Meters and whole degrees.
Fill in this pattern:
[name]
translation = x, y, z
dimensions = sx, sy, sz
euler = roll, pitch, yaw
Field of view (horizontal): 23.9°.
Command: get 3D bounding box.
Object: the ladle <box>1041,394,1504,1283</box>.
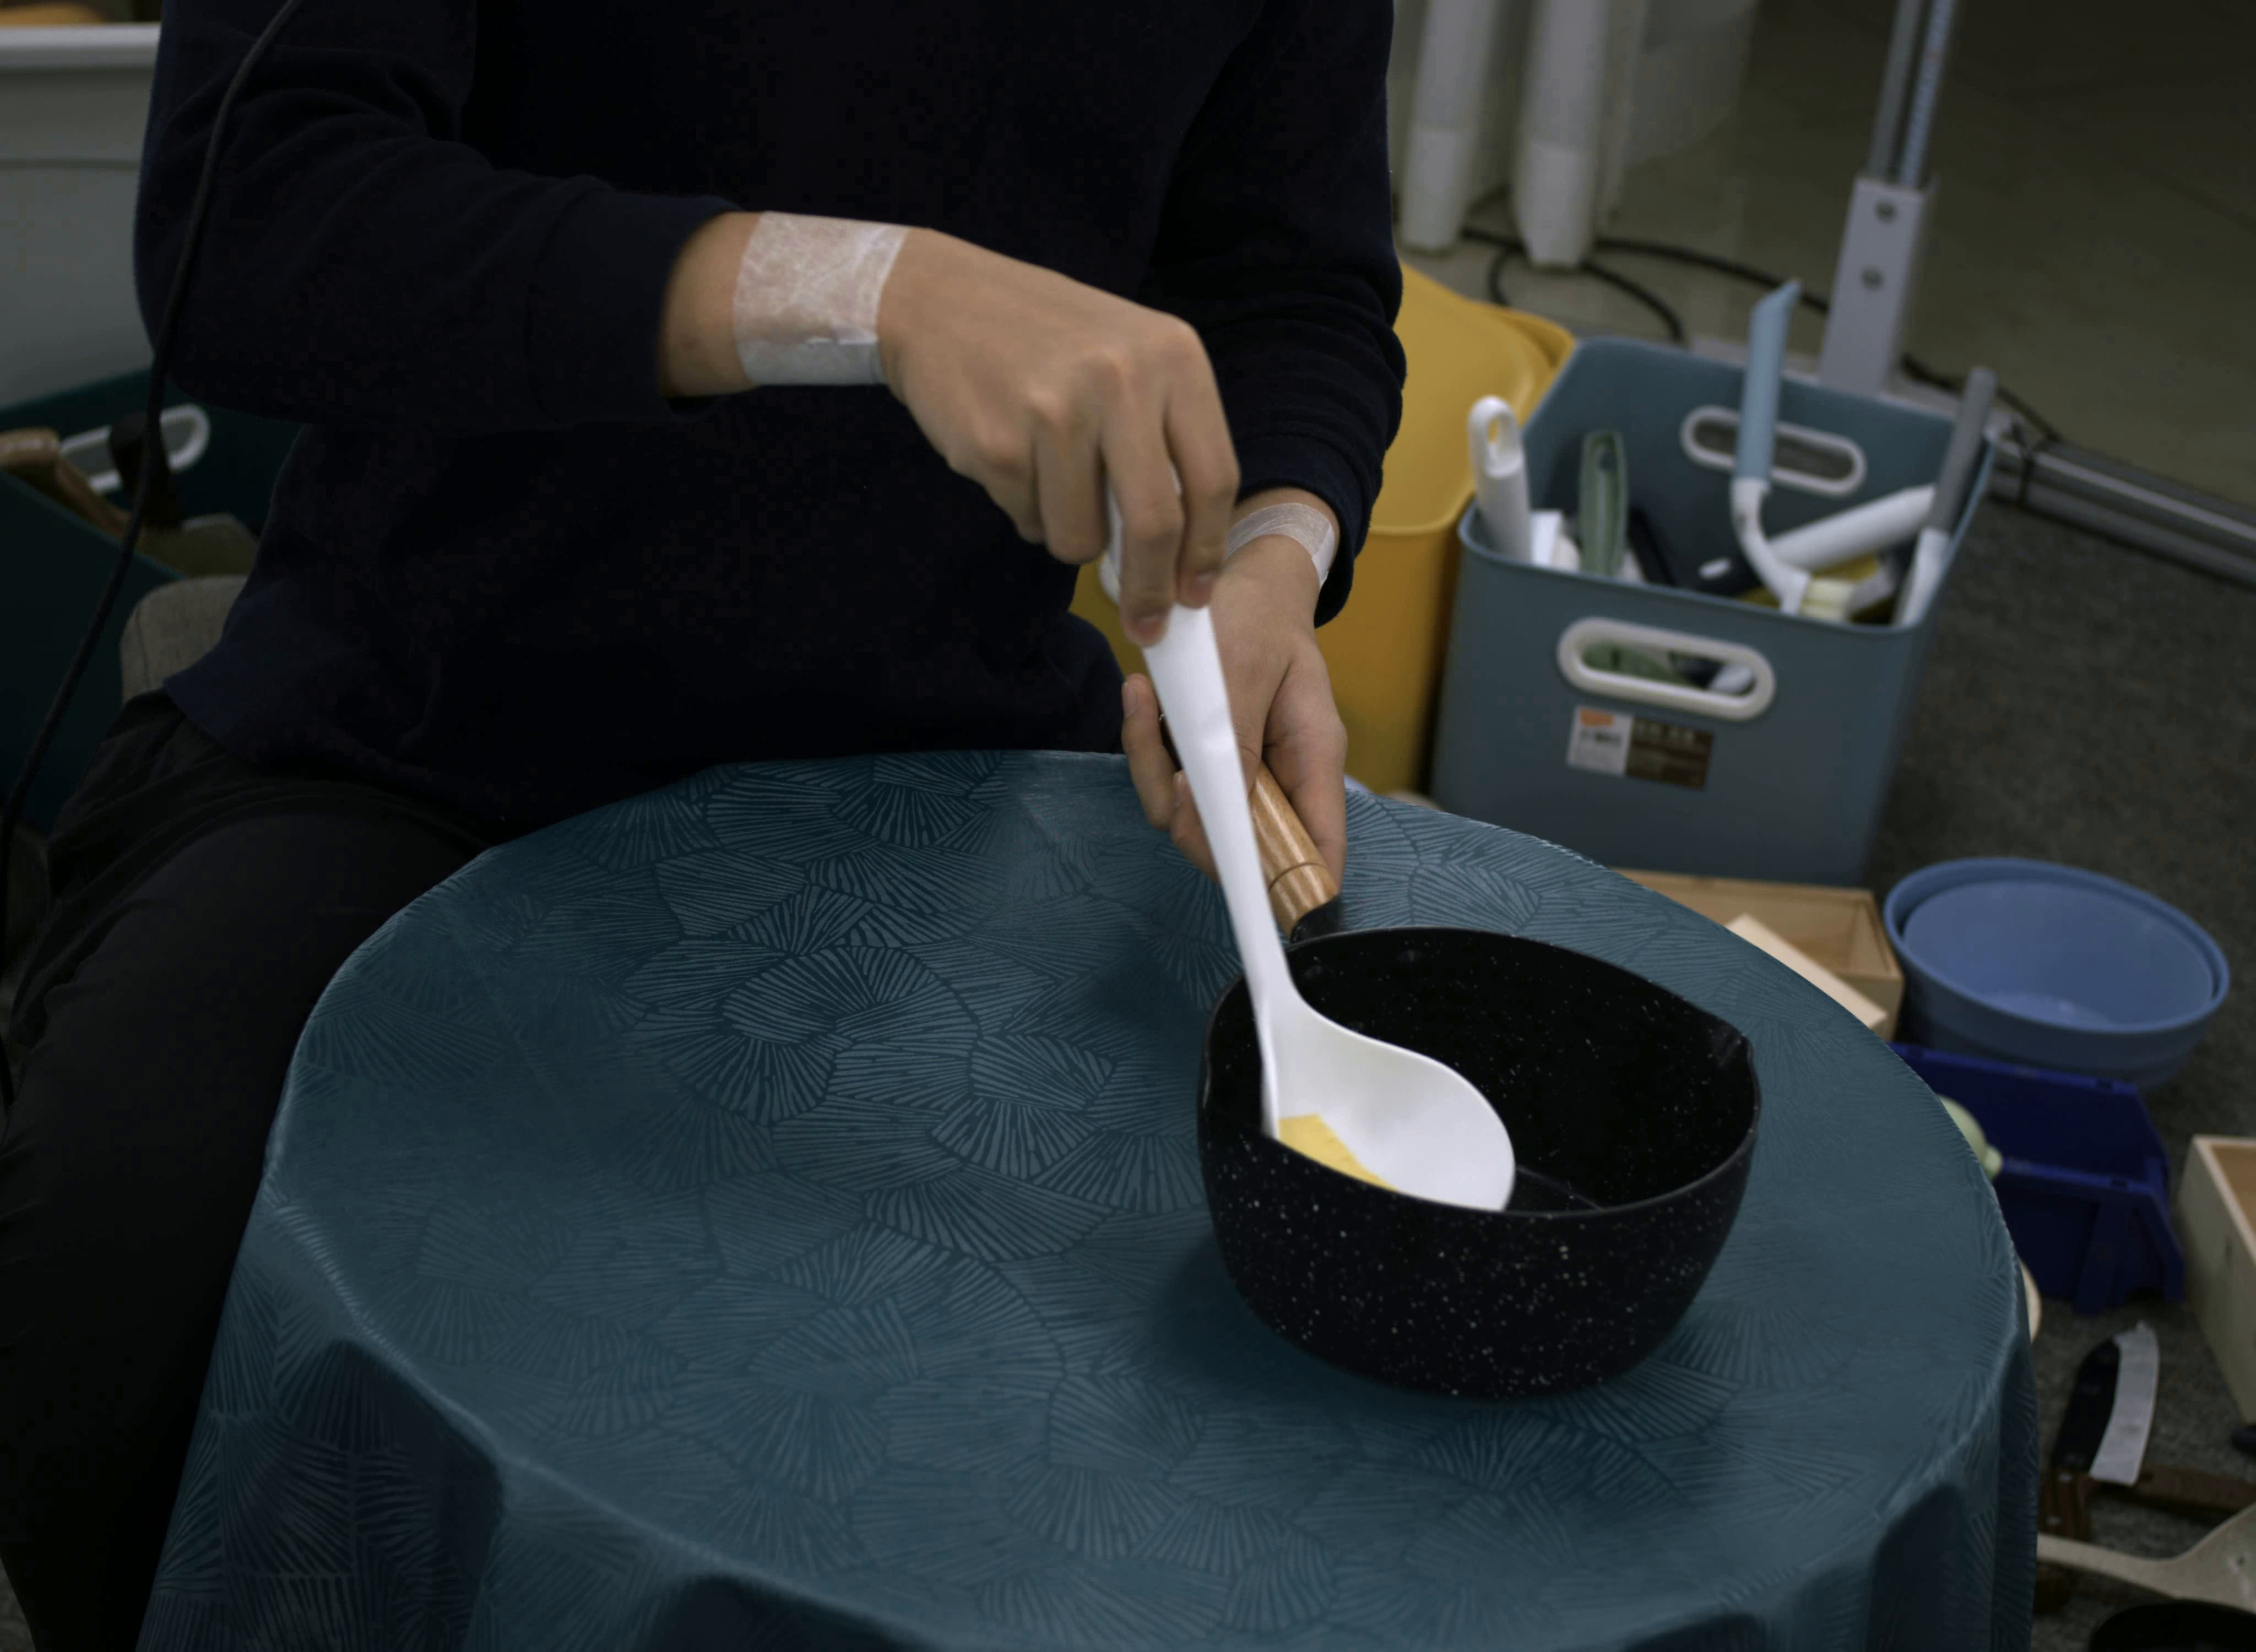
[ladle]
translation = 0.041, 0.004, 1.687
dimensions = 0.090, 0.292, 0.070
euler = -25, 15, -31

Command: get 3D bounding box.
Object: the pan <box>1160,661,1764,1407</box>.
[pan]
translation = 0.080, 0.067, 1.811
dimensions = 0.206, 0.108, 0.346
euler = -8, 32, -24
